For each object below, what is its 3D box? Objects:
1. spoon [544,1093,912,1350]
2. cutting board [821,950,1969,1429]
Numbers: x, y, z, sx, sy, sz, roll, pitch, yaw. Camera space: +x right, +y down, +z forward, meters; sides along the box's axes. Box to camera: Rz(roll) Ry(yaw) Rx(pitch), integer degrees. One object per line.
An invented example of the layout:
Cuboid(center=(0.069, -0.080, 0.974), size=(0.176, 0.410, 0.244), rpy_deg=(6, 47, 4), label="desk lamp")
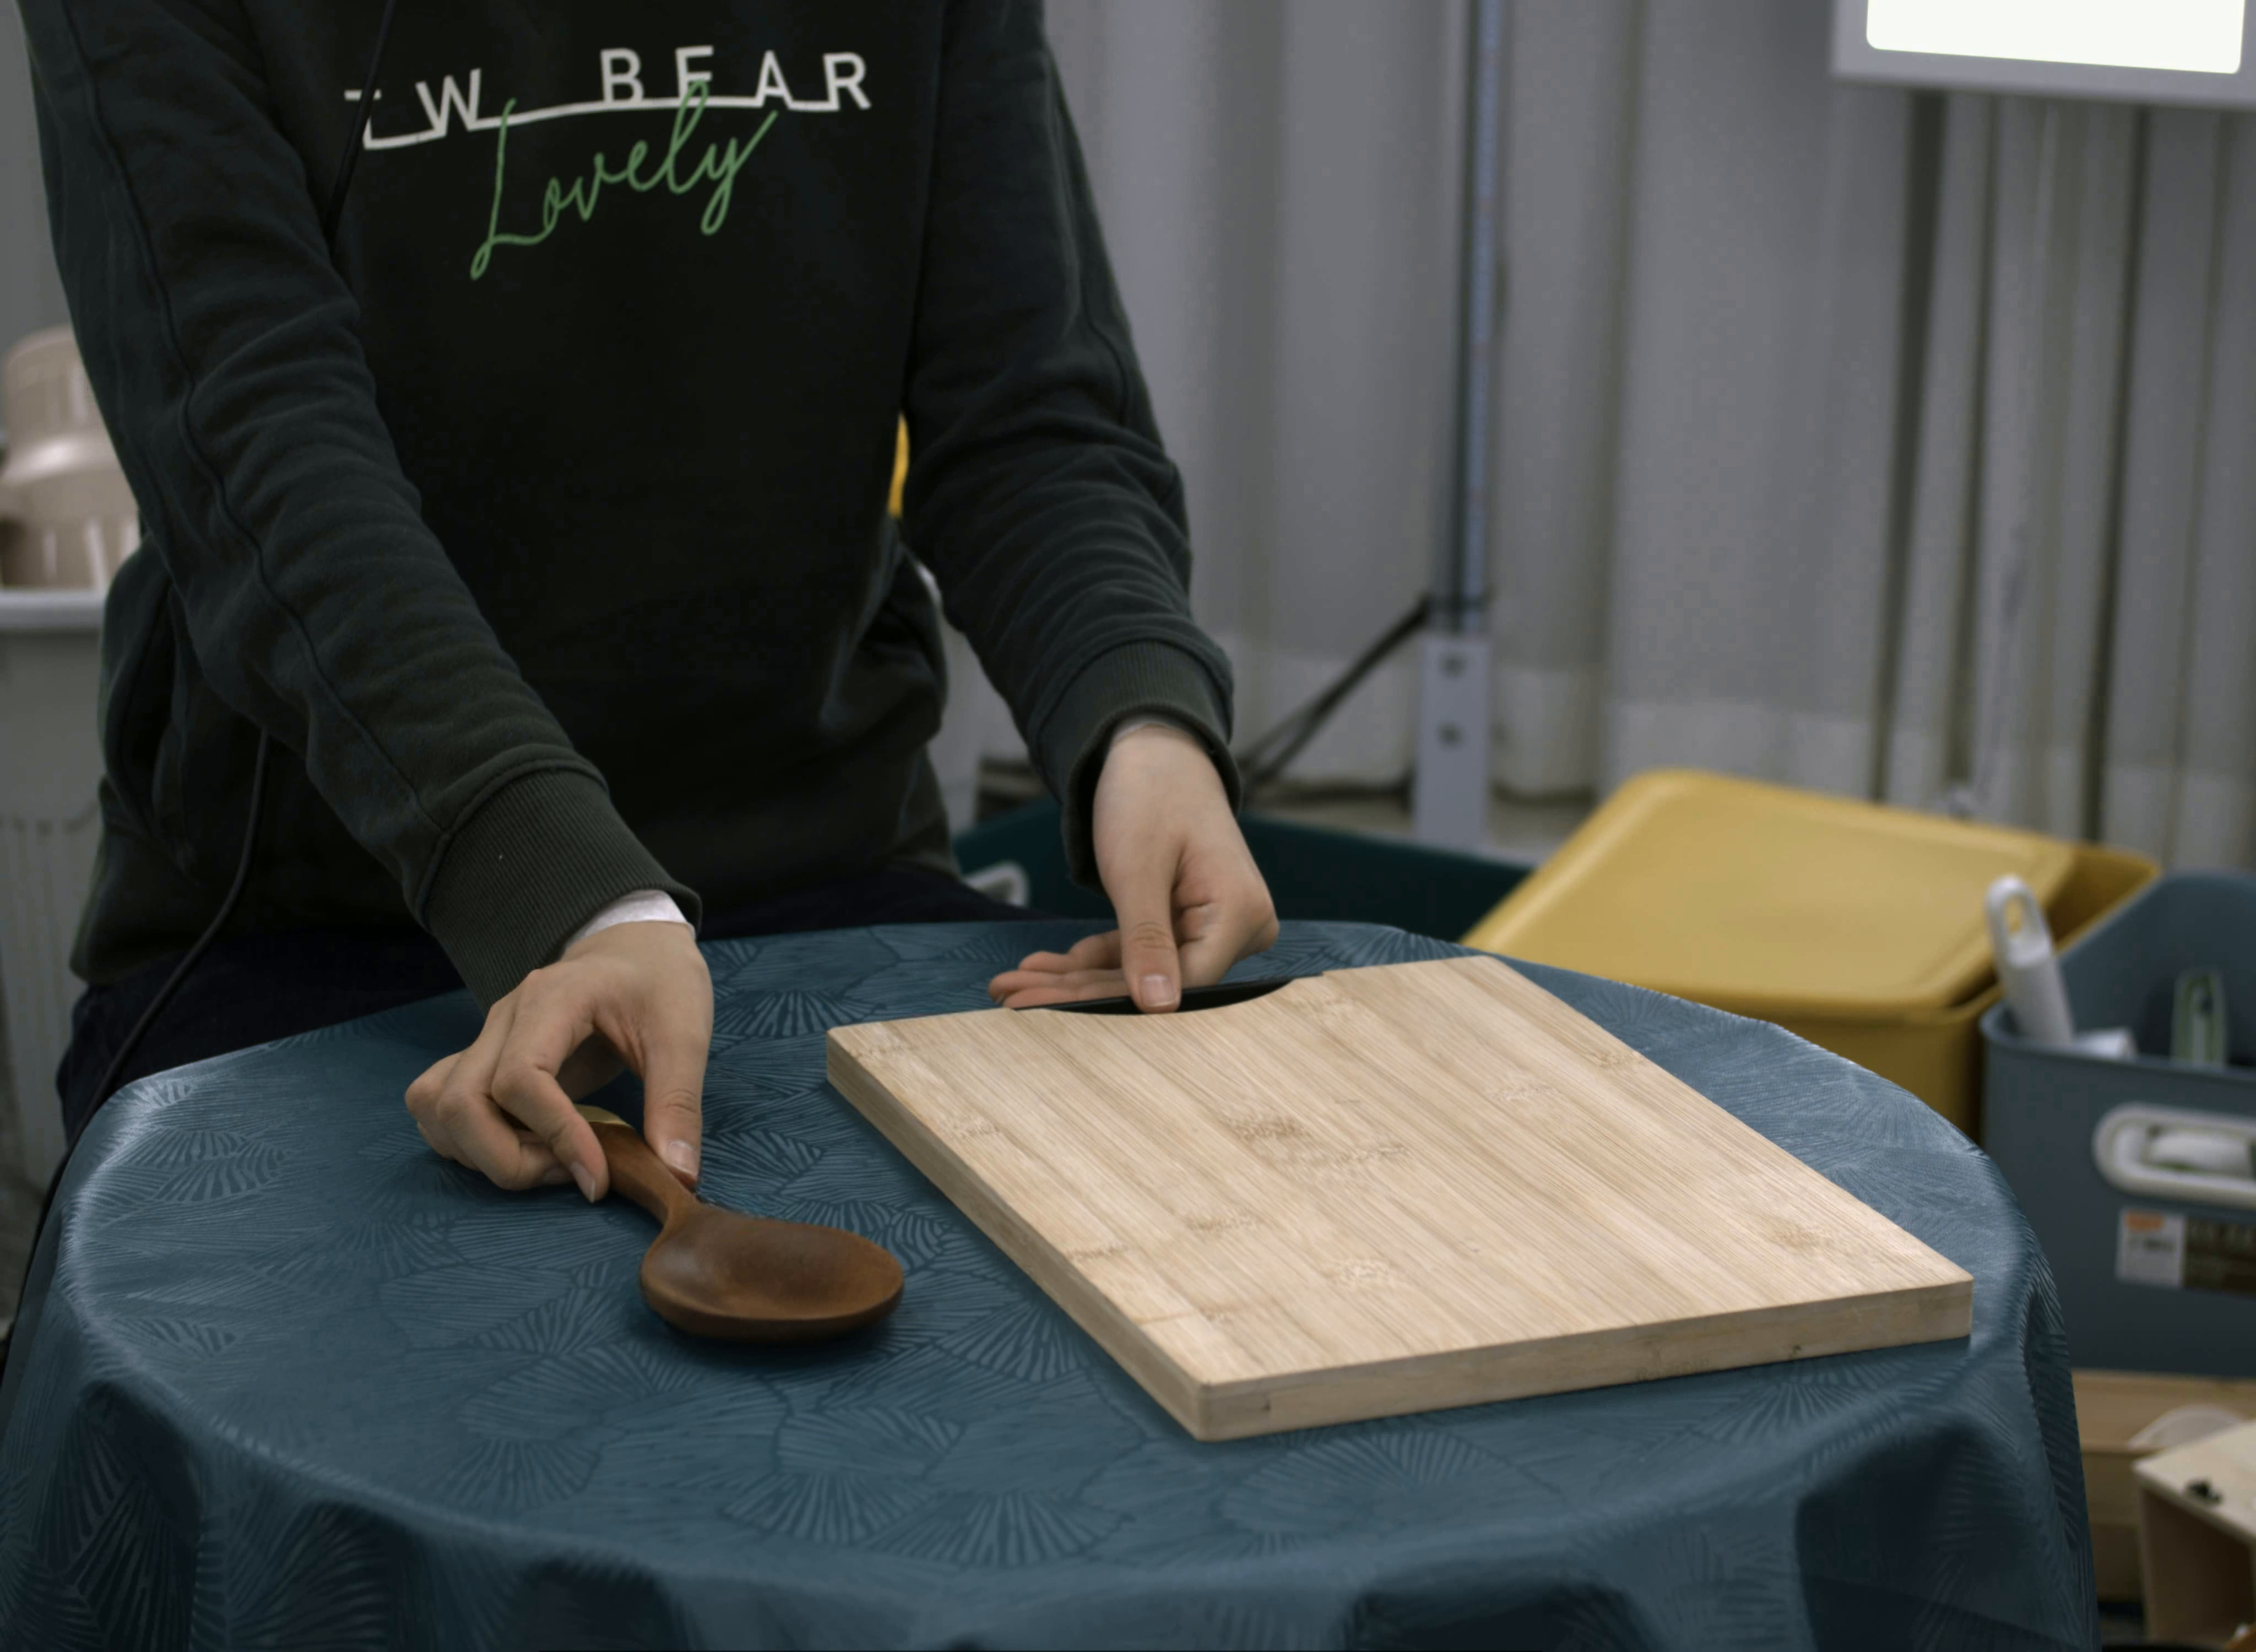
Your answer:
Cuboid(center=(-0.128, 0.118, 1.569), size=(0.076, 0.017, 0.213), rpy_deg=(-9, 19, -24), label="spoon")
Cuboid(center=(0.070, 0.105, 1.626), size=(0.251, 0.024, 0.344), rpy_deg=(-5, 17, -21), label="cutting board")
